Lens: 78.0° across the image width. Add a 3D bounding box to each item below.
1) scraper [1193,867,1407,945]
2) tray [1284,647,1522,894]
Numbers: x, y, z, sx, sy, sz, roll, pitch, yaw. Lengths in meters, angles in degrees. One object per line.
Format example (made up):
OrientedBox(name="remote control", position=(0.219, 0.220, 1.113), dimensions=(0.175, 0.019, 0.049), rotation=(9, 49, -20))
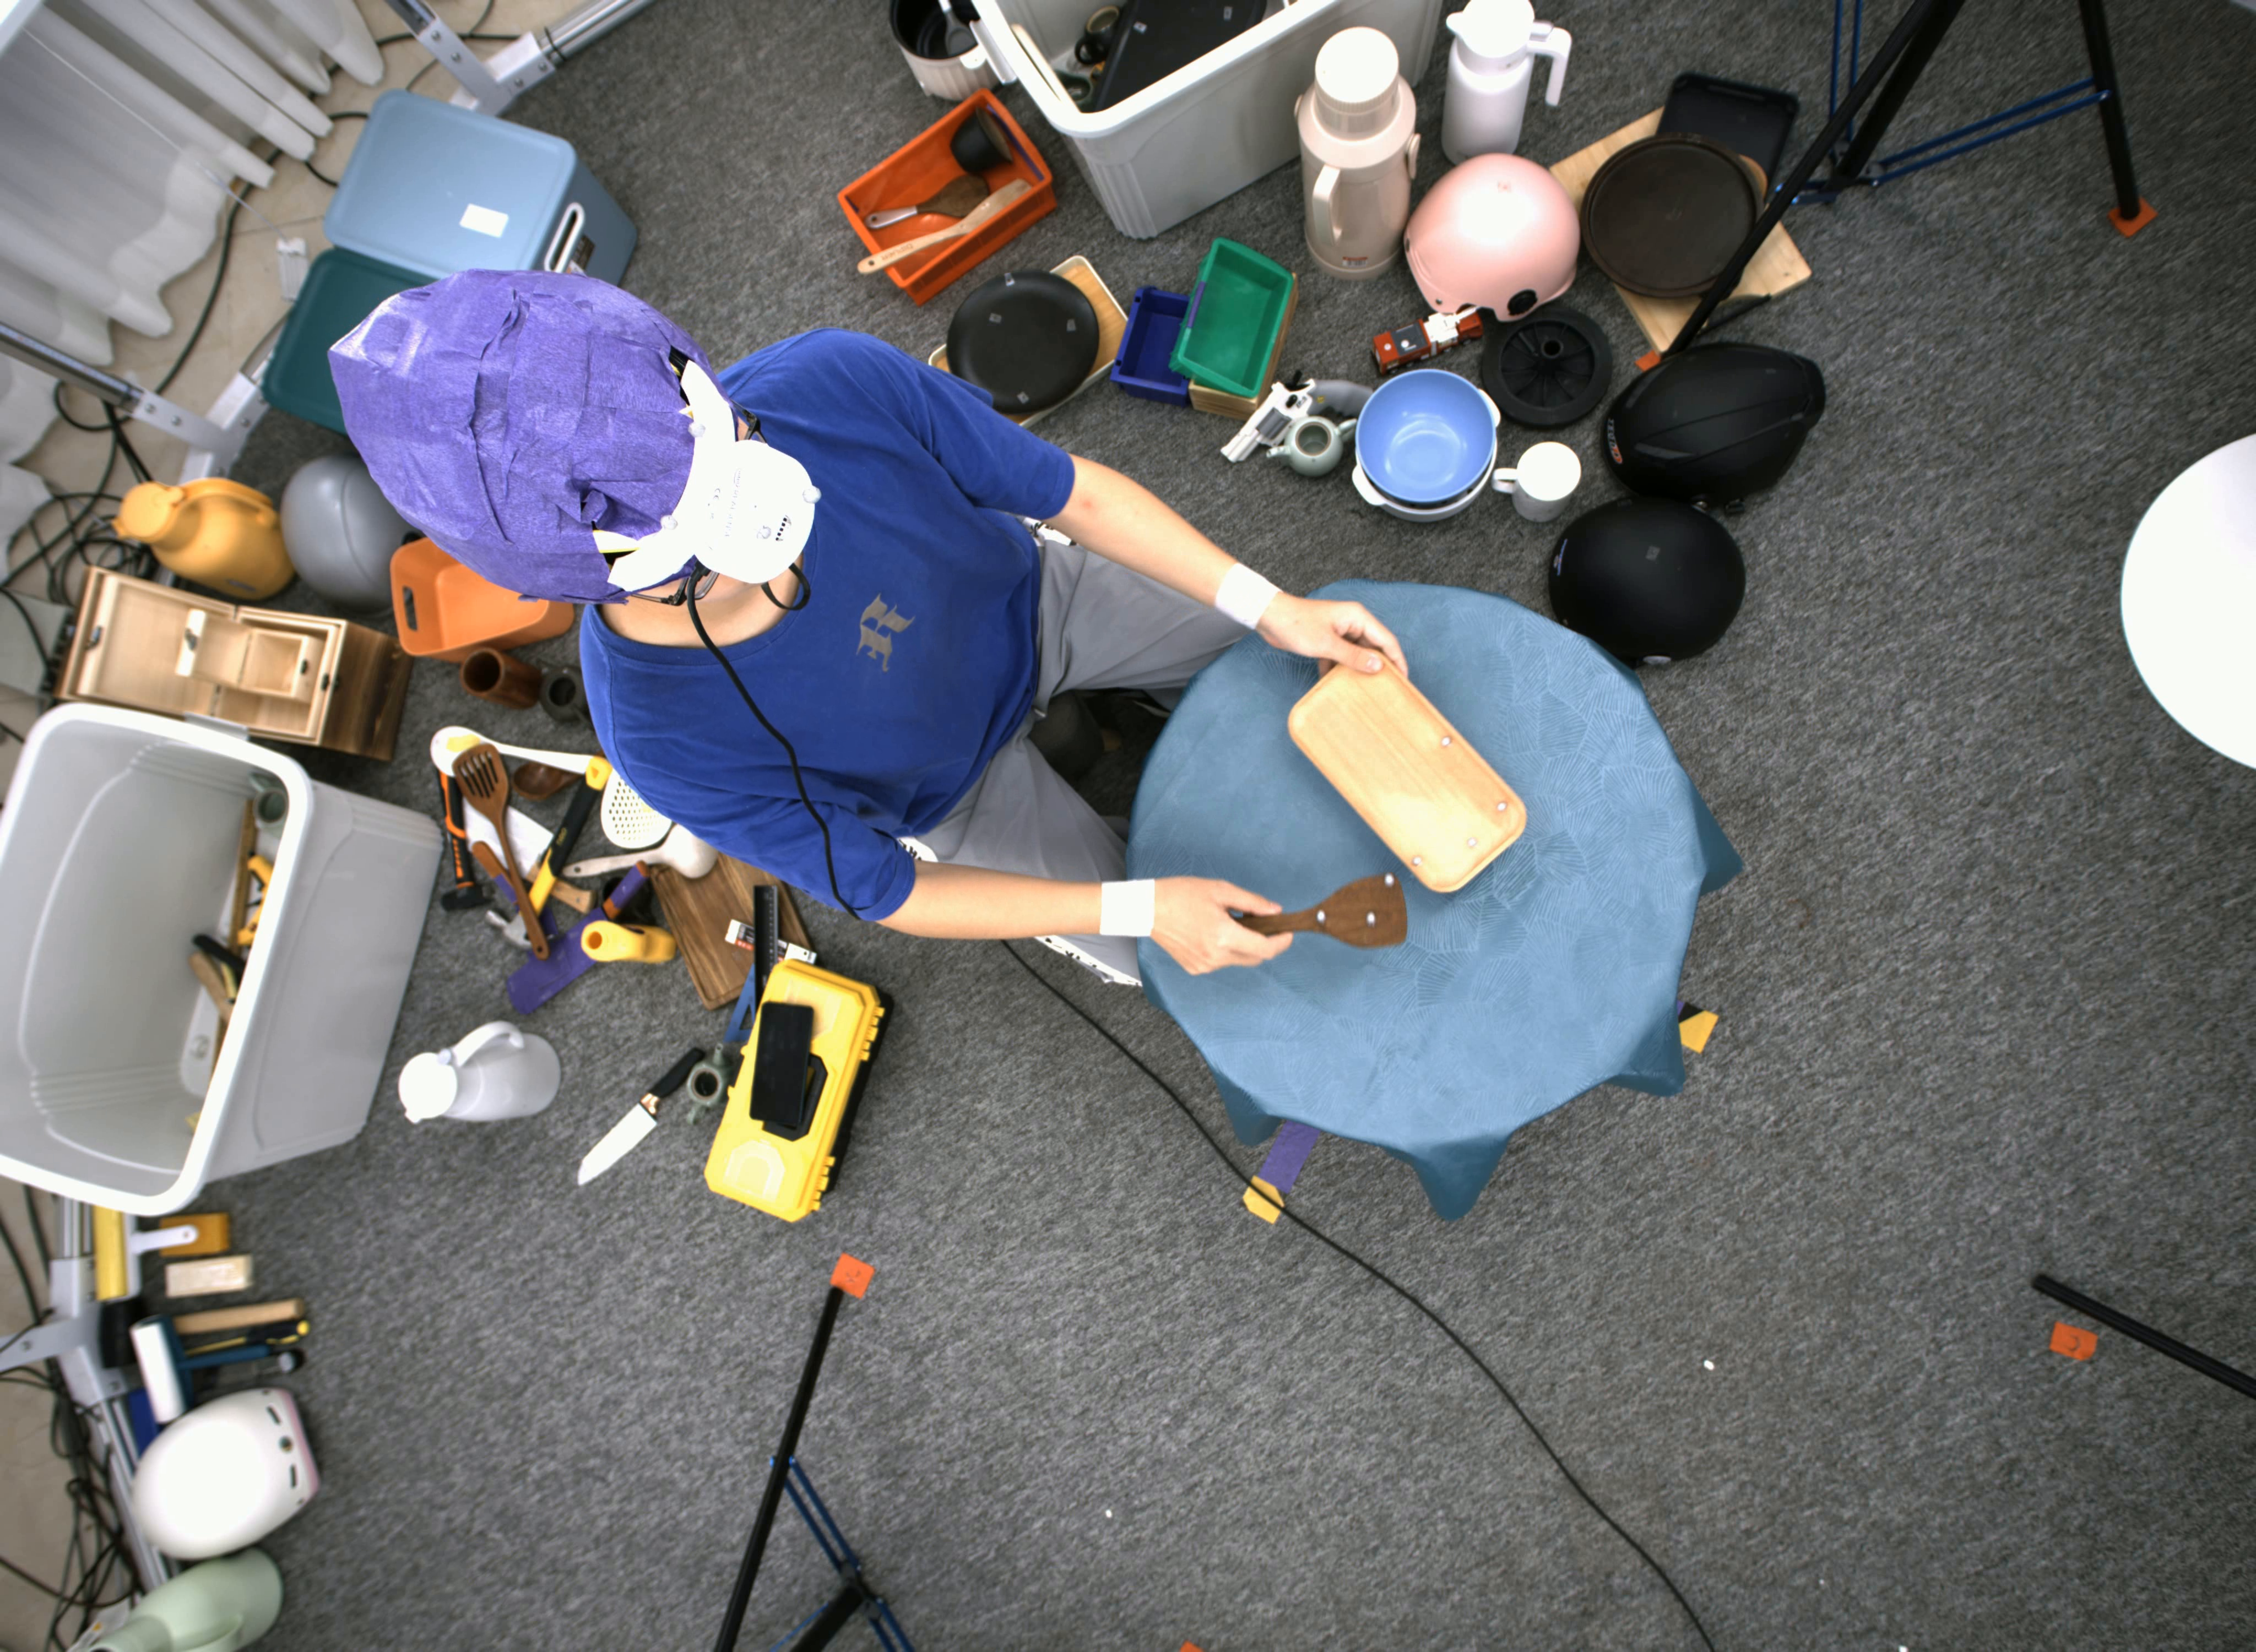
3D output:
OrientedBox(name="scraper", position=(0.167, 0.089, 1.362), dimensions=(0.213, 0.011, 0.074), rotation=(-9, 68, 14))
OrientedBox(name="tray", position=(0.274, -0.058, 1.381), dimensions=(0.132, 0.022, 0.249), rotation=(-43, 80, 18))
